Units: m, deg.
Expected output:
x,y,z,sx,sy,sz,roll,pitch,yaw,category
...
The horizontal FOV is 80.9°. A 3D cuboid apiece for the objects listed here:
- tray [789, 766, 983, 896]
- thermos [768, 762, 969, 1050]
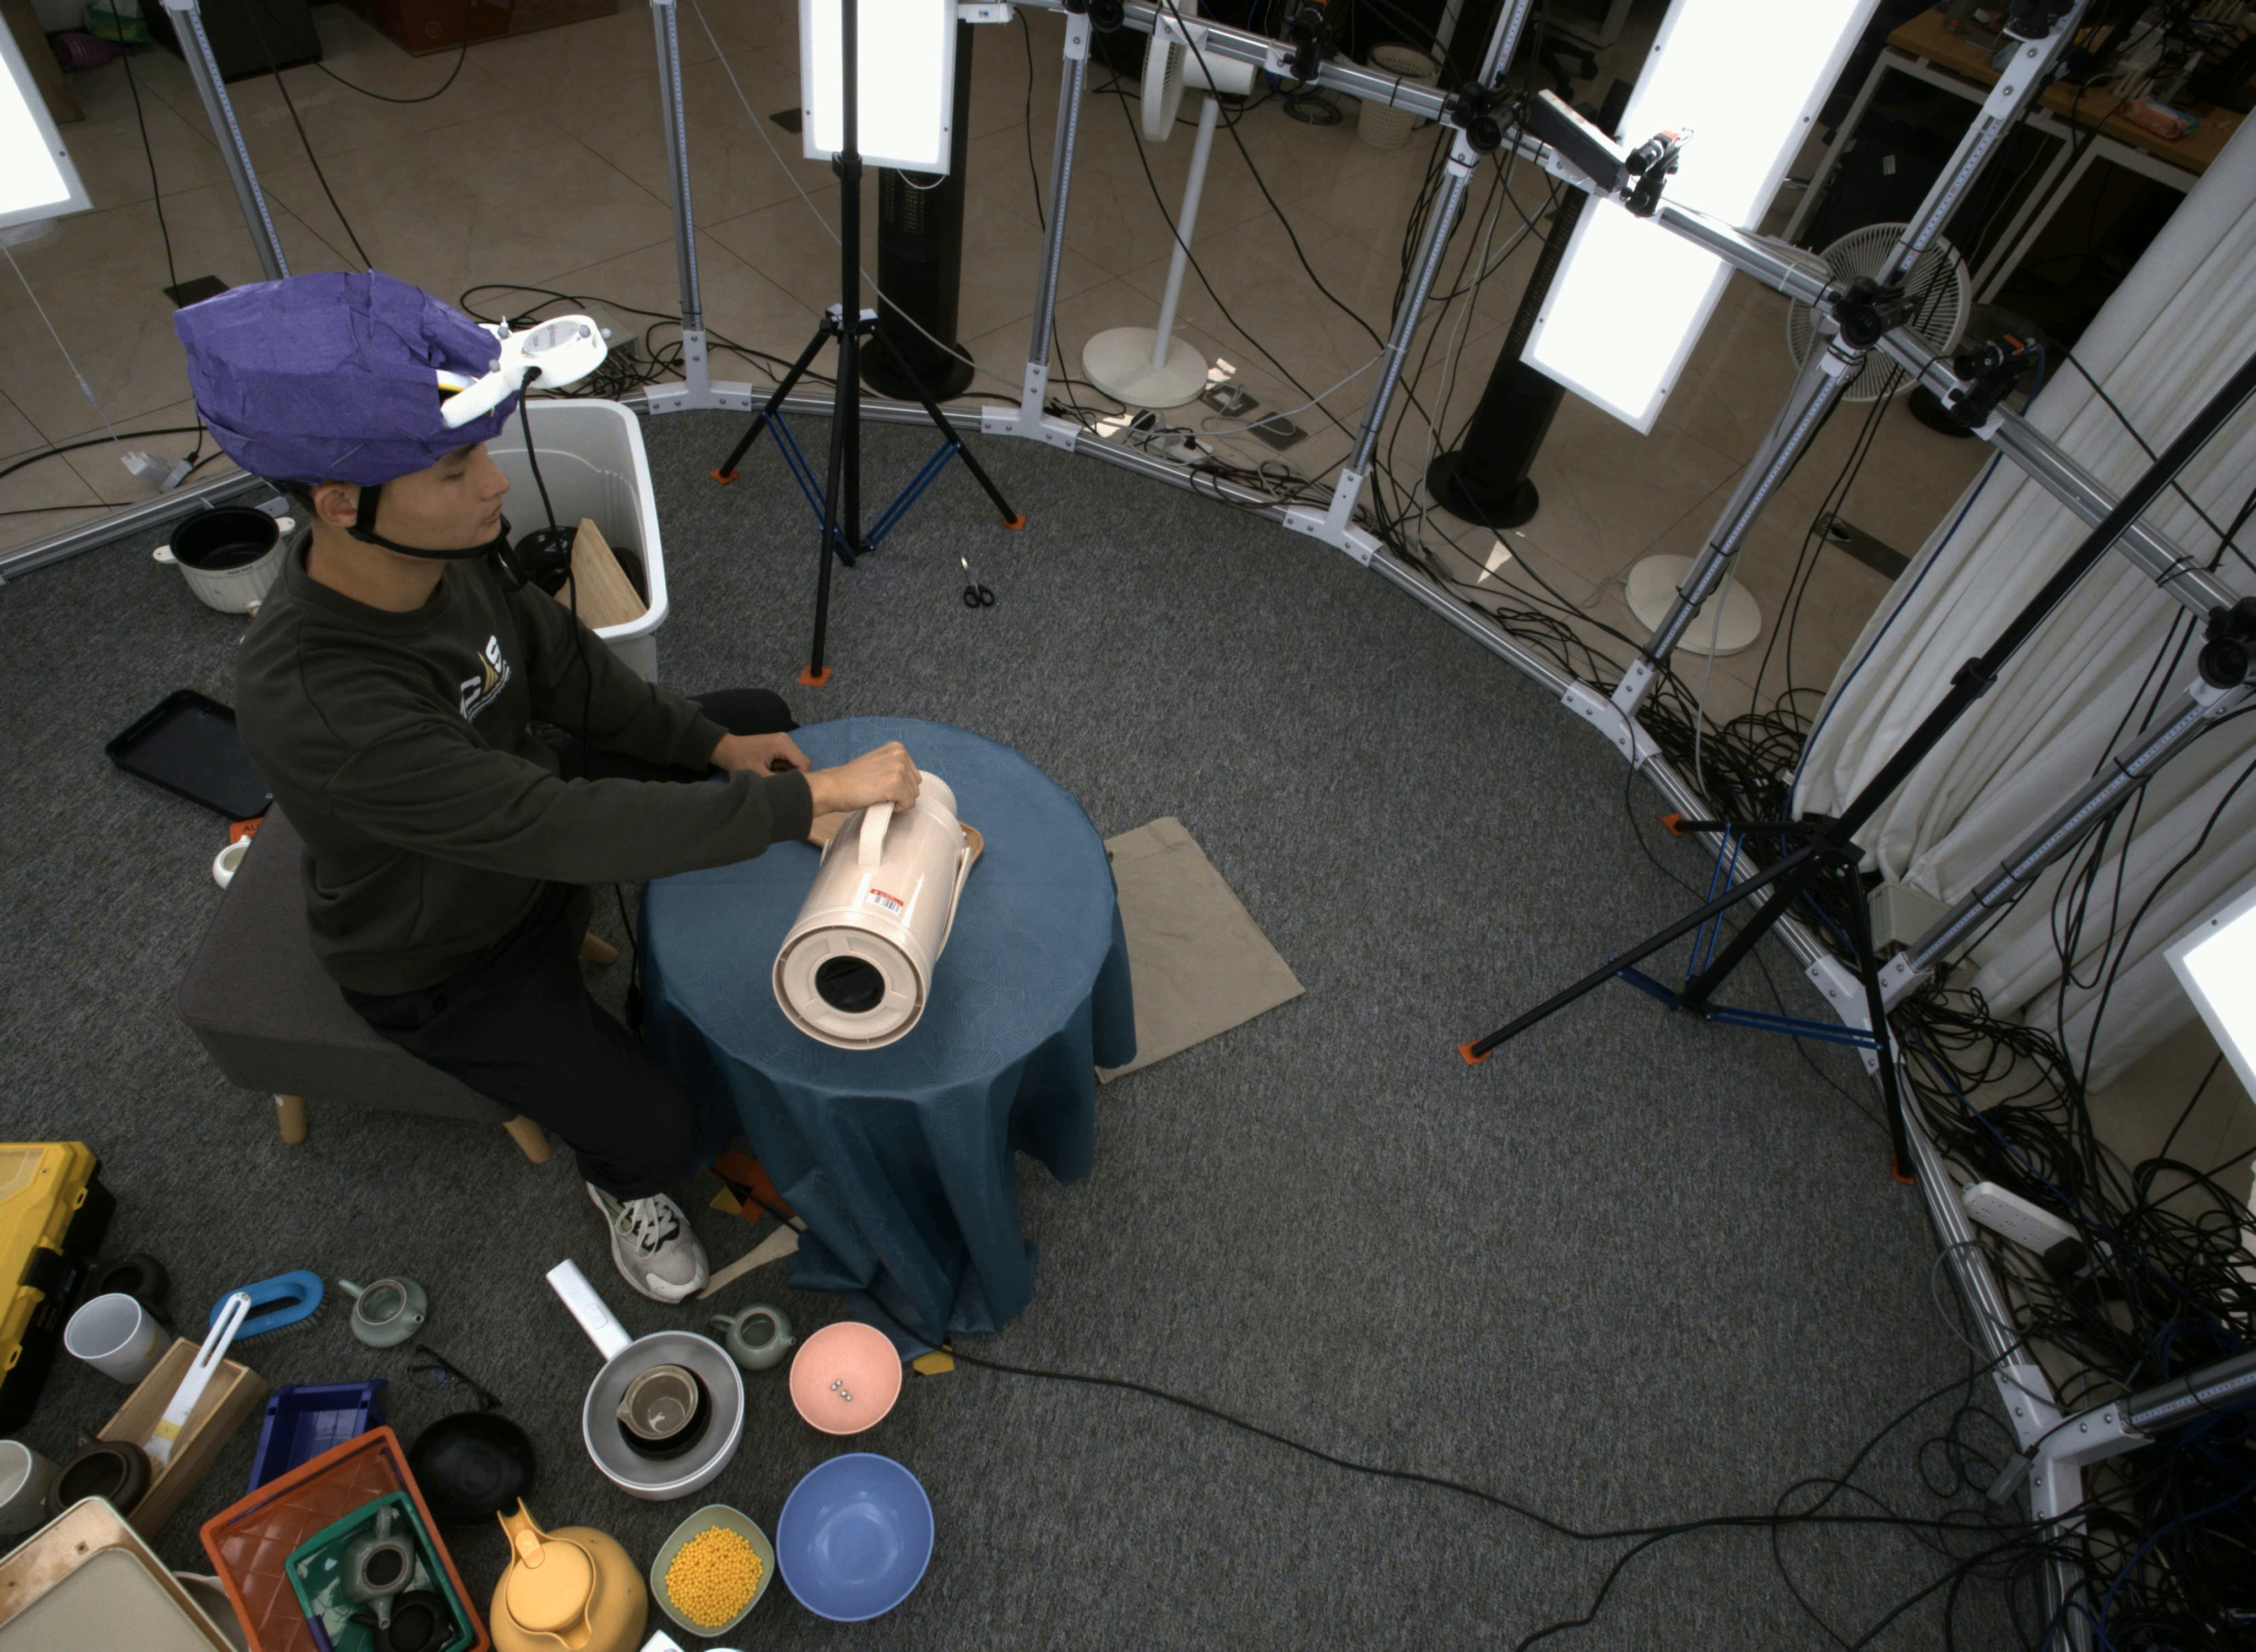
x,y,z,sx,sy,sz,roll,pitch,yaw,category
-0.323,0.008,1.743,0.247,0.023,0.130,25,50,7,tray
-0.283,0.056,1.486,0.173,0.213,0.399,4,30,1,thermos
